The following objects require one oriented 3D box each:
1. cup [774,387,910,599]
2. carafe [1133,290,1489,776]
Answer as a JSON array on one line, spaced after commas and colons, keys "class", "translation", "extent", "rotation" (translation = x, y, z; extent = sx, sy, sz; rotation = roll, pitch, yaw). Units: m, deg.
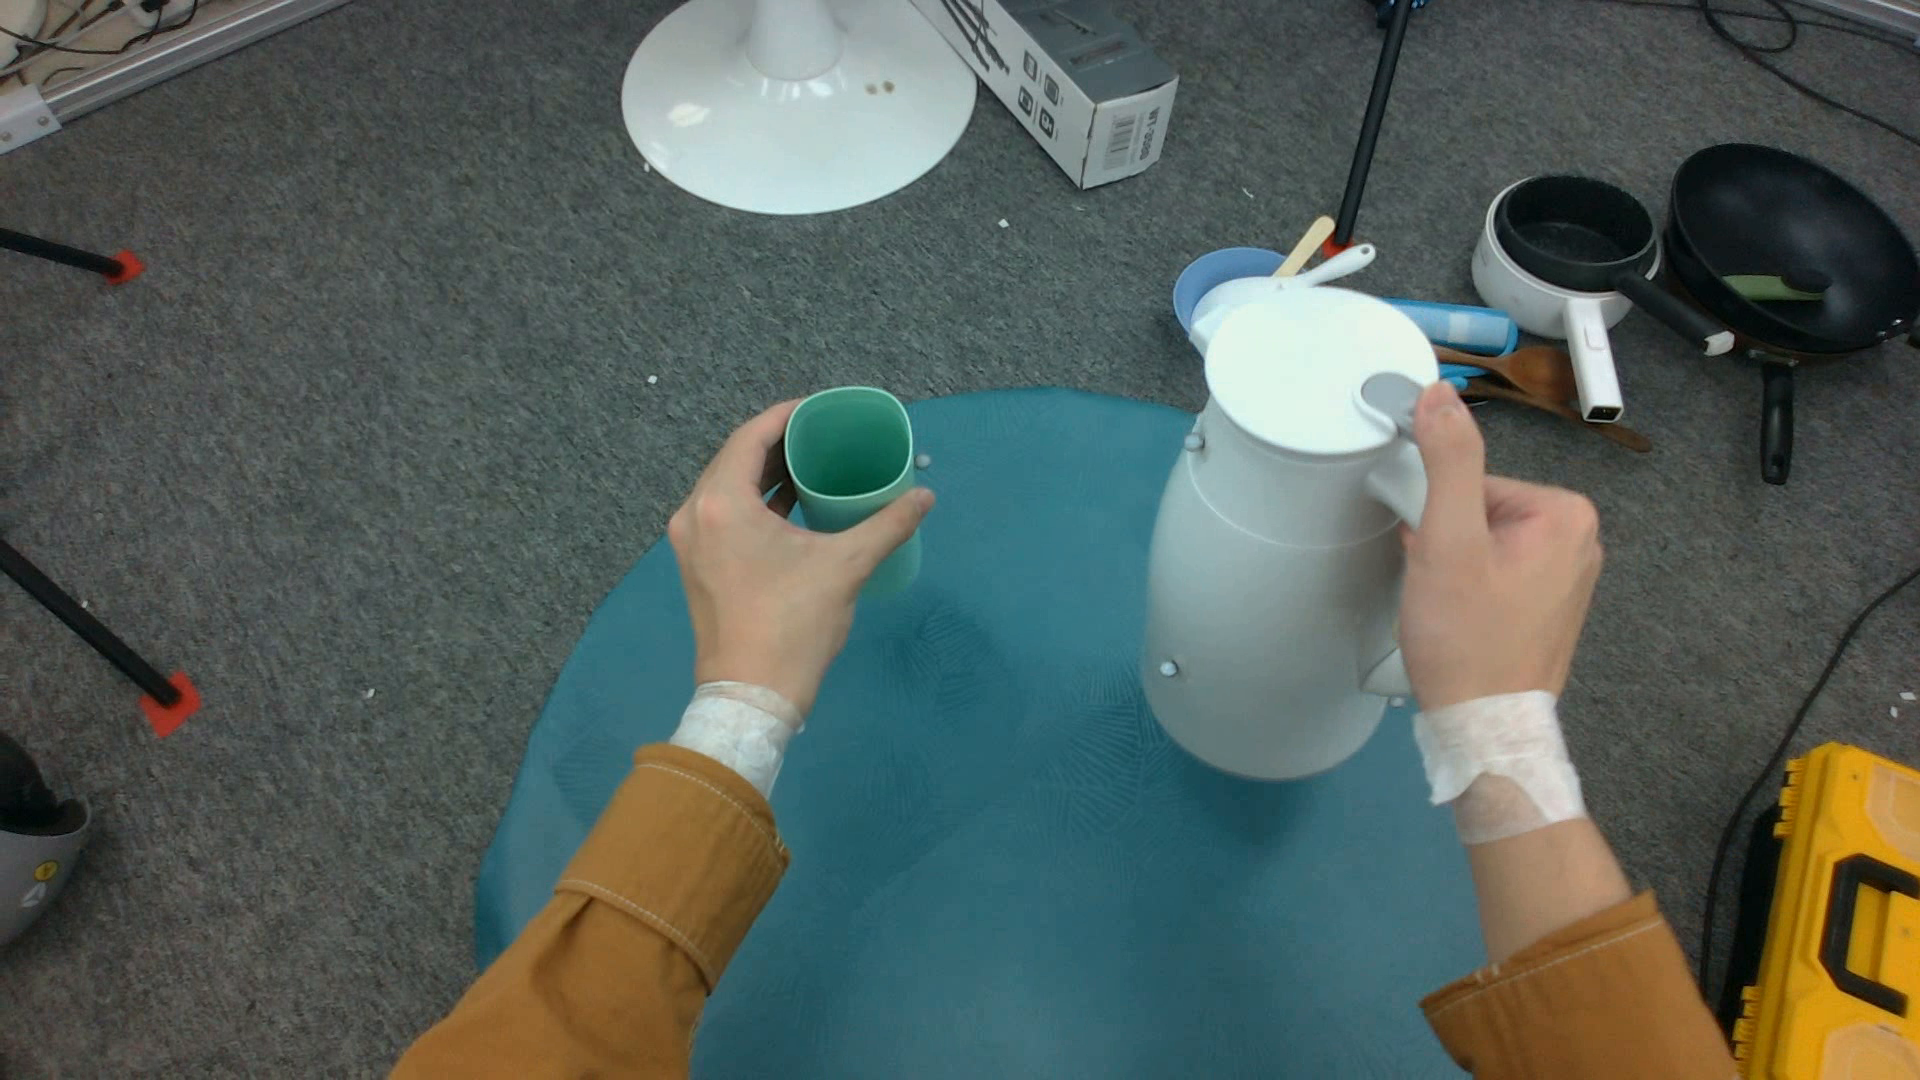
[{"class": "cup", "translation": [-0.060, -0.020, 0.735], "extent": [0.067, 0.132, 0.067], "rotation": [0, 64, 1]}, {"class": "carafe", "translation": [0.166, 0.008, 0.648], "extent": [0.133, 0.247, 0.168], "rotation": [-36, 59, -21]}]
